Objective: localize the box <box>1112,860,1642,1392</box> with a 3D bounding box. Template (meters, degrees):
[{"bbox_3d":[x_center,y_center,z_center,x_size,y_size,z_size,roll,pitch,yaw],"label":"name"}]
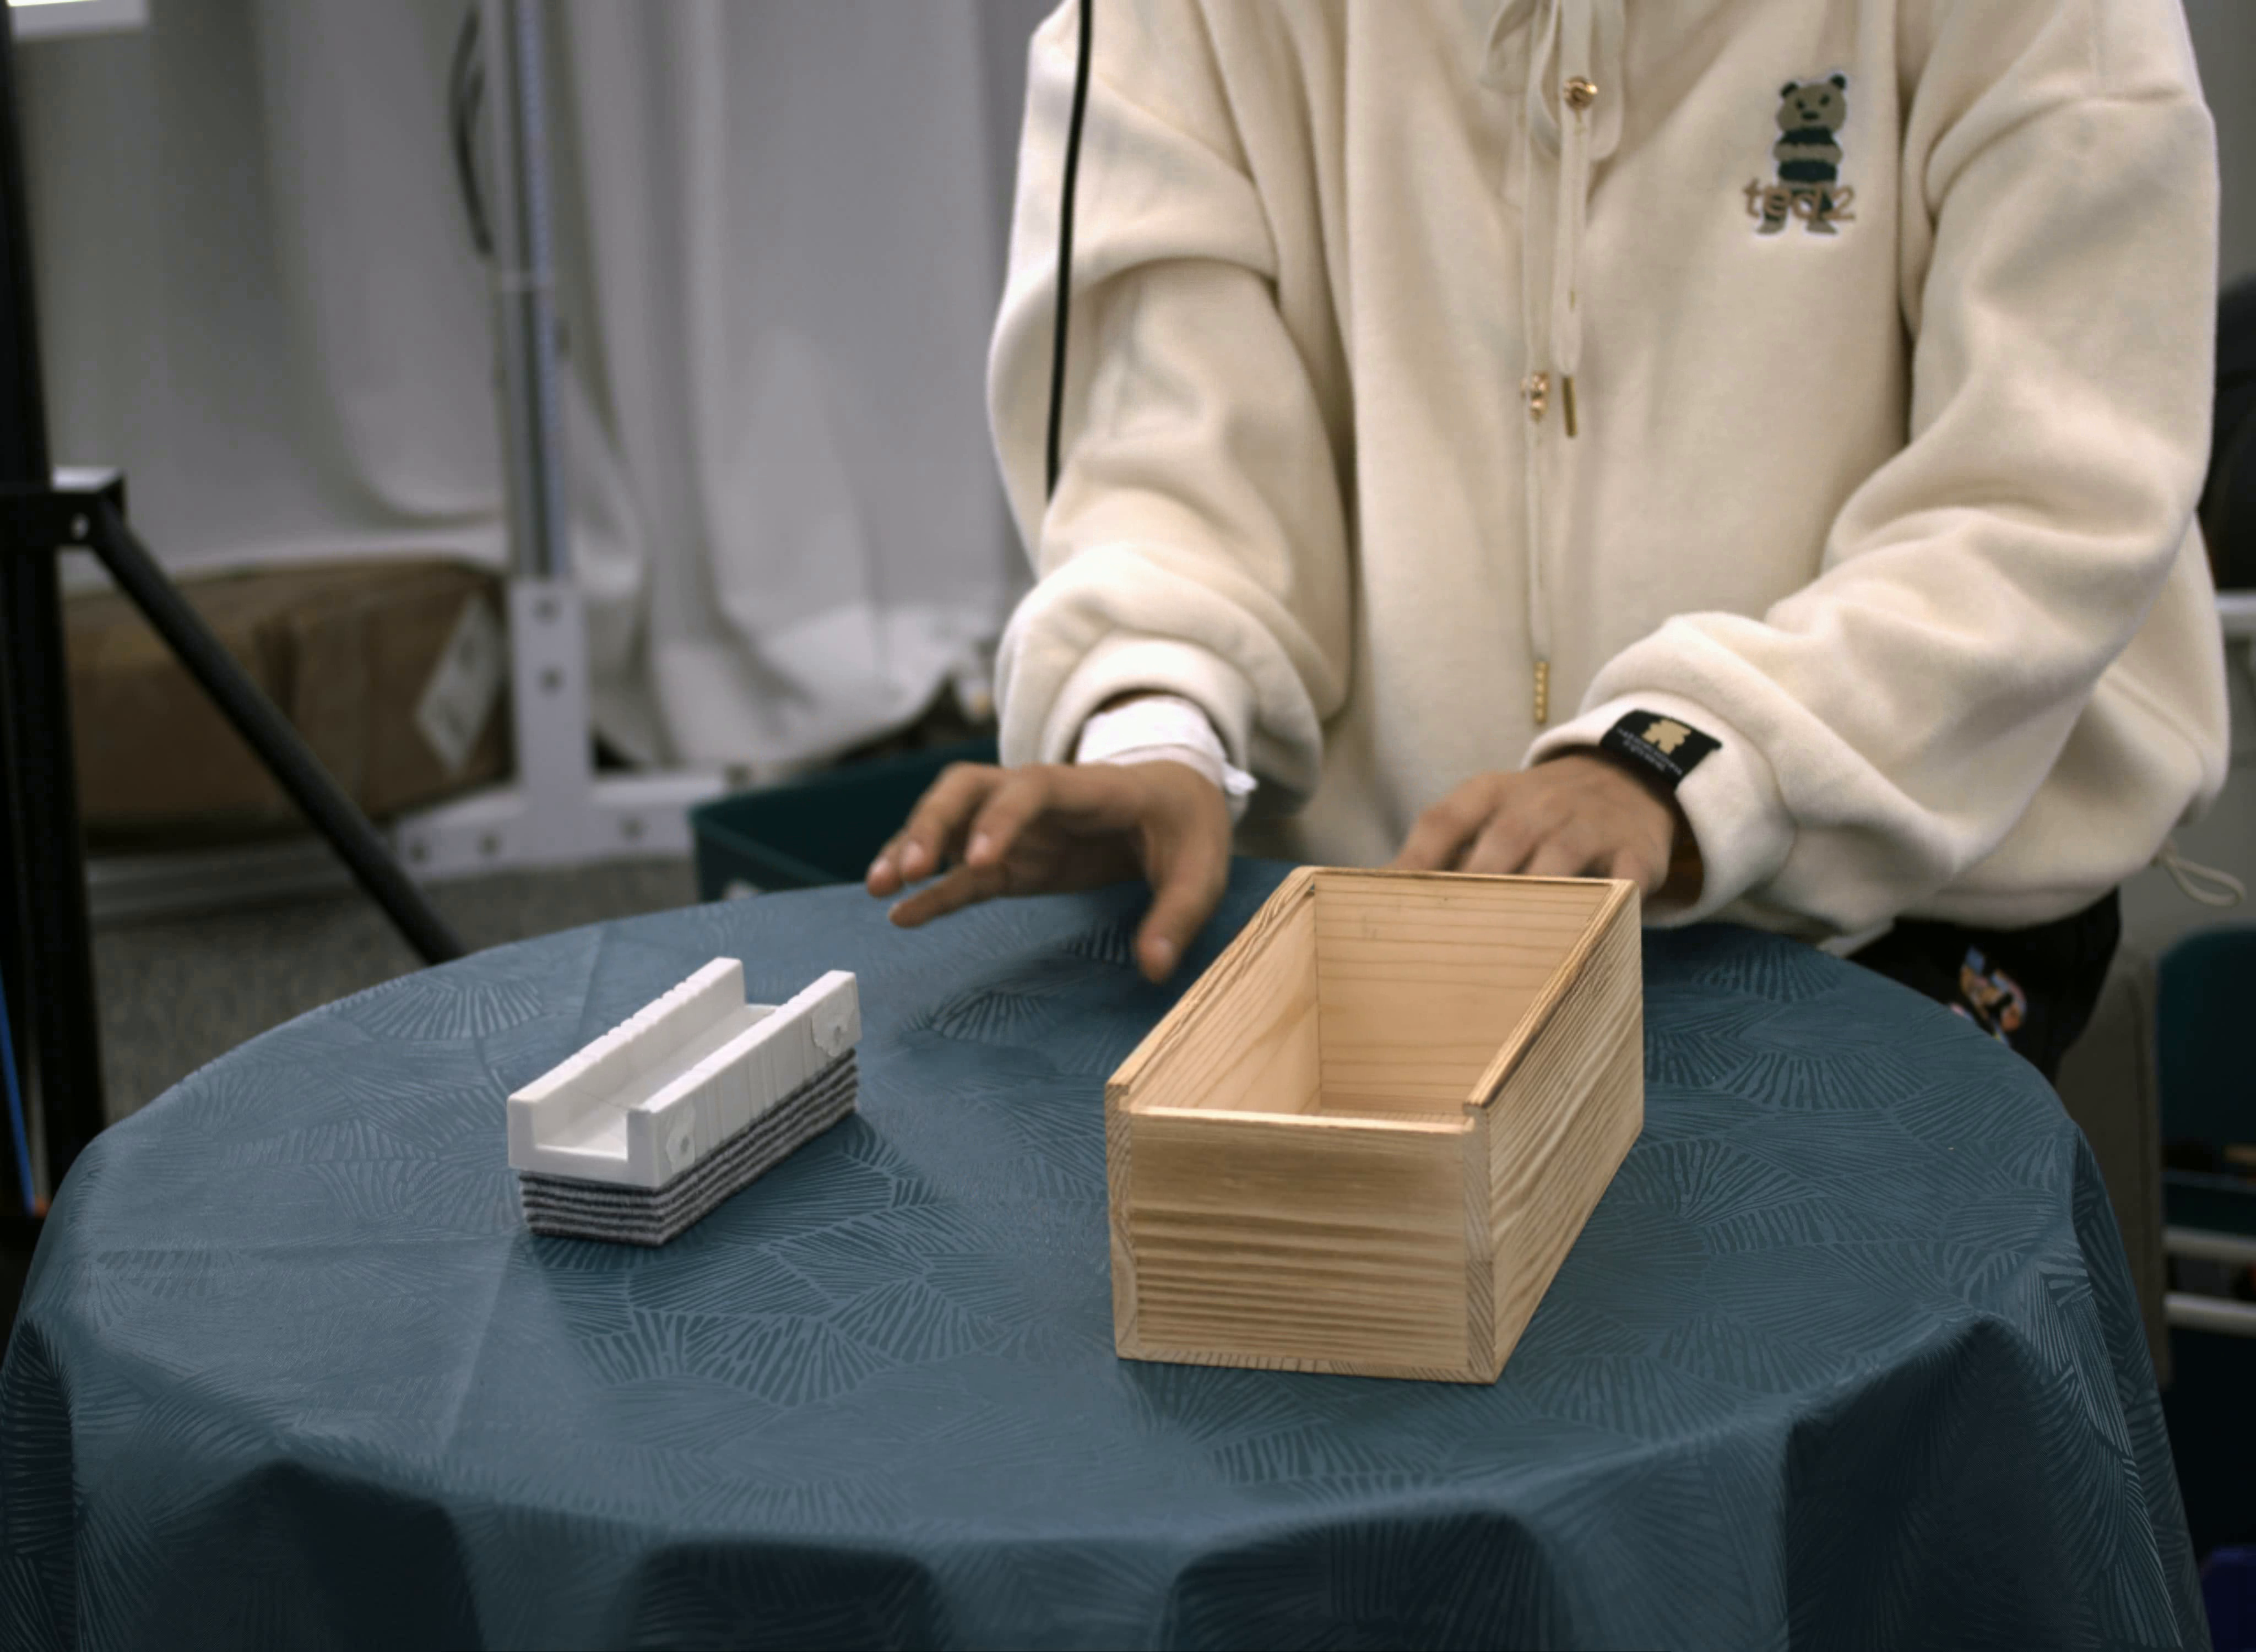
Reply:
[{"bbox_3d":[0.075,0.080,1.499,0.108,0.080,0.209,2,17,16],"label":"box"}]

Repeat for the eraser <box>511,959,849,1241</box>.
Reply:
[{"bbox_3d":[-0.132,0.080,1.590,0.050,0.046,0.132,2,18,22],"label":"eraser"}]
